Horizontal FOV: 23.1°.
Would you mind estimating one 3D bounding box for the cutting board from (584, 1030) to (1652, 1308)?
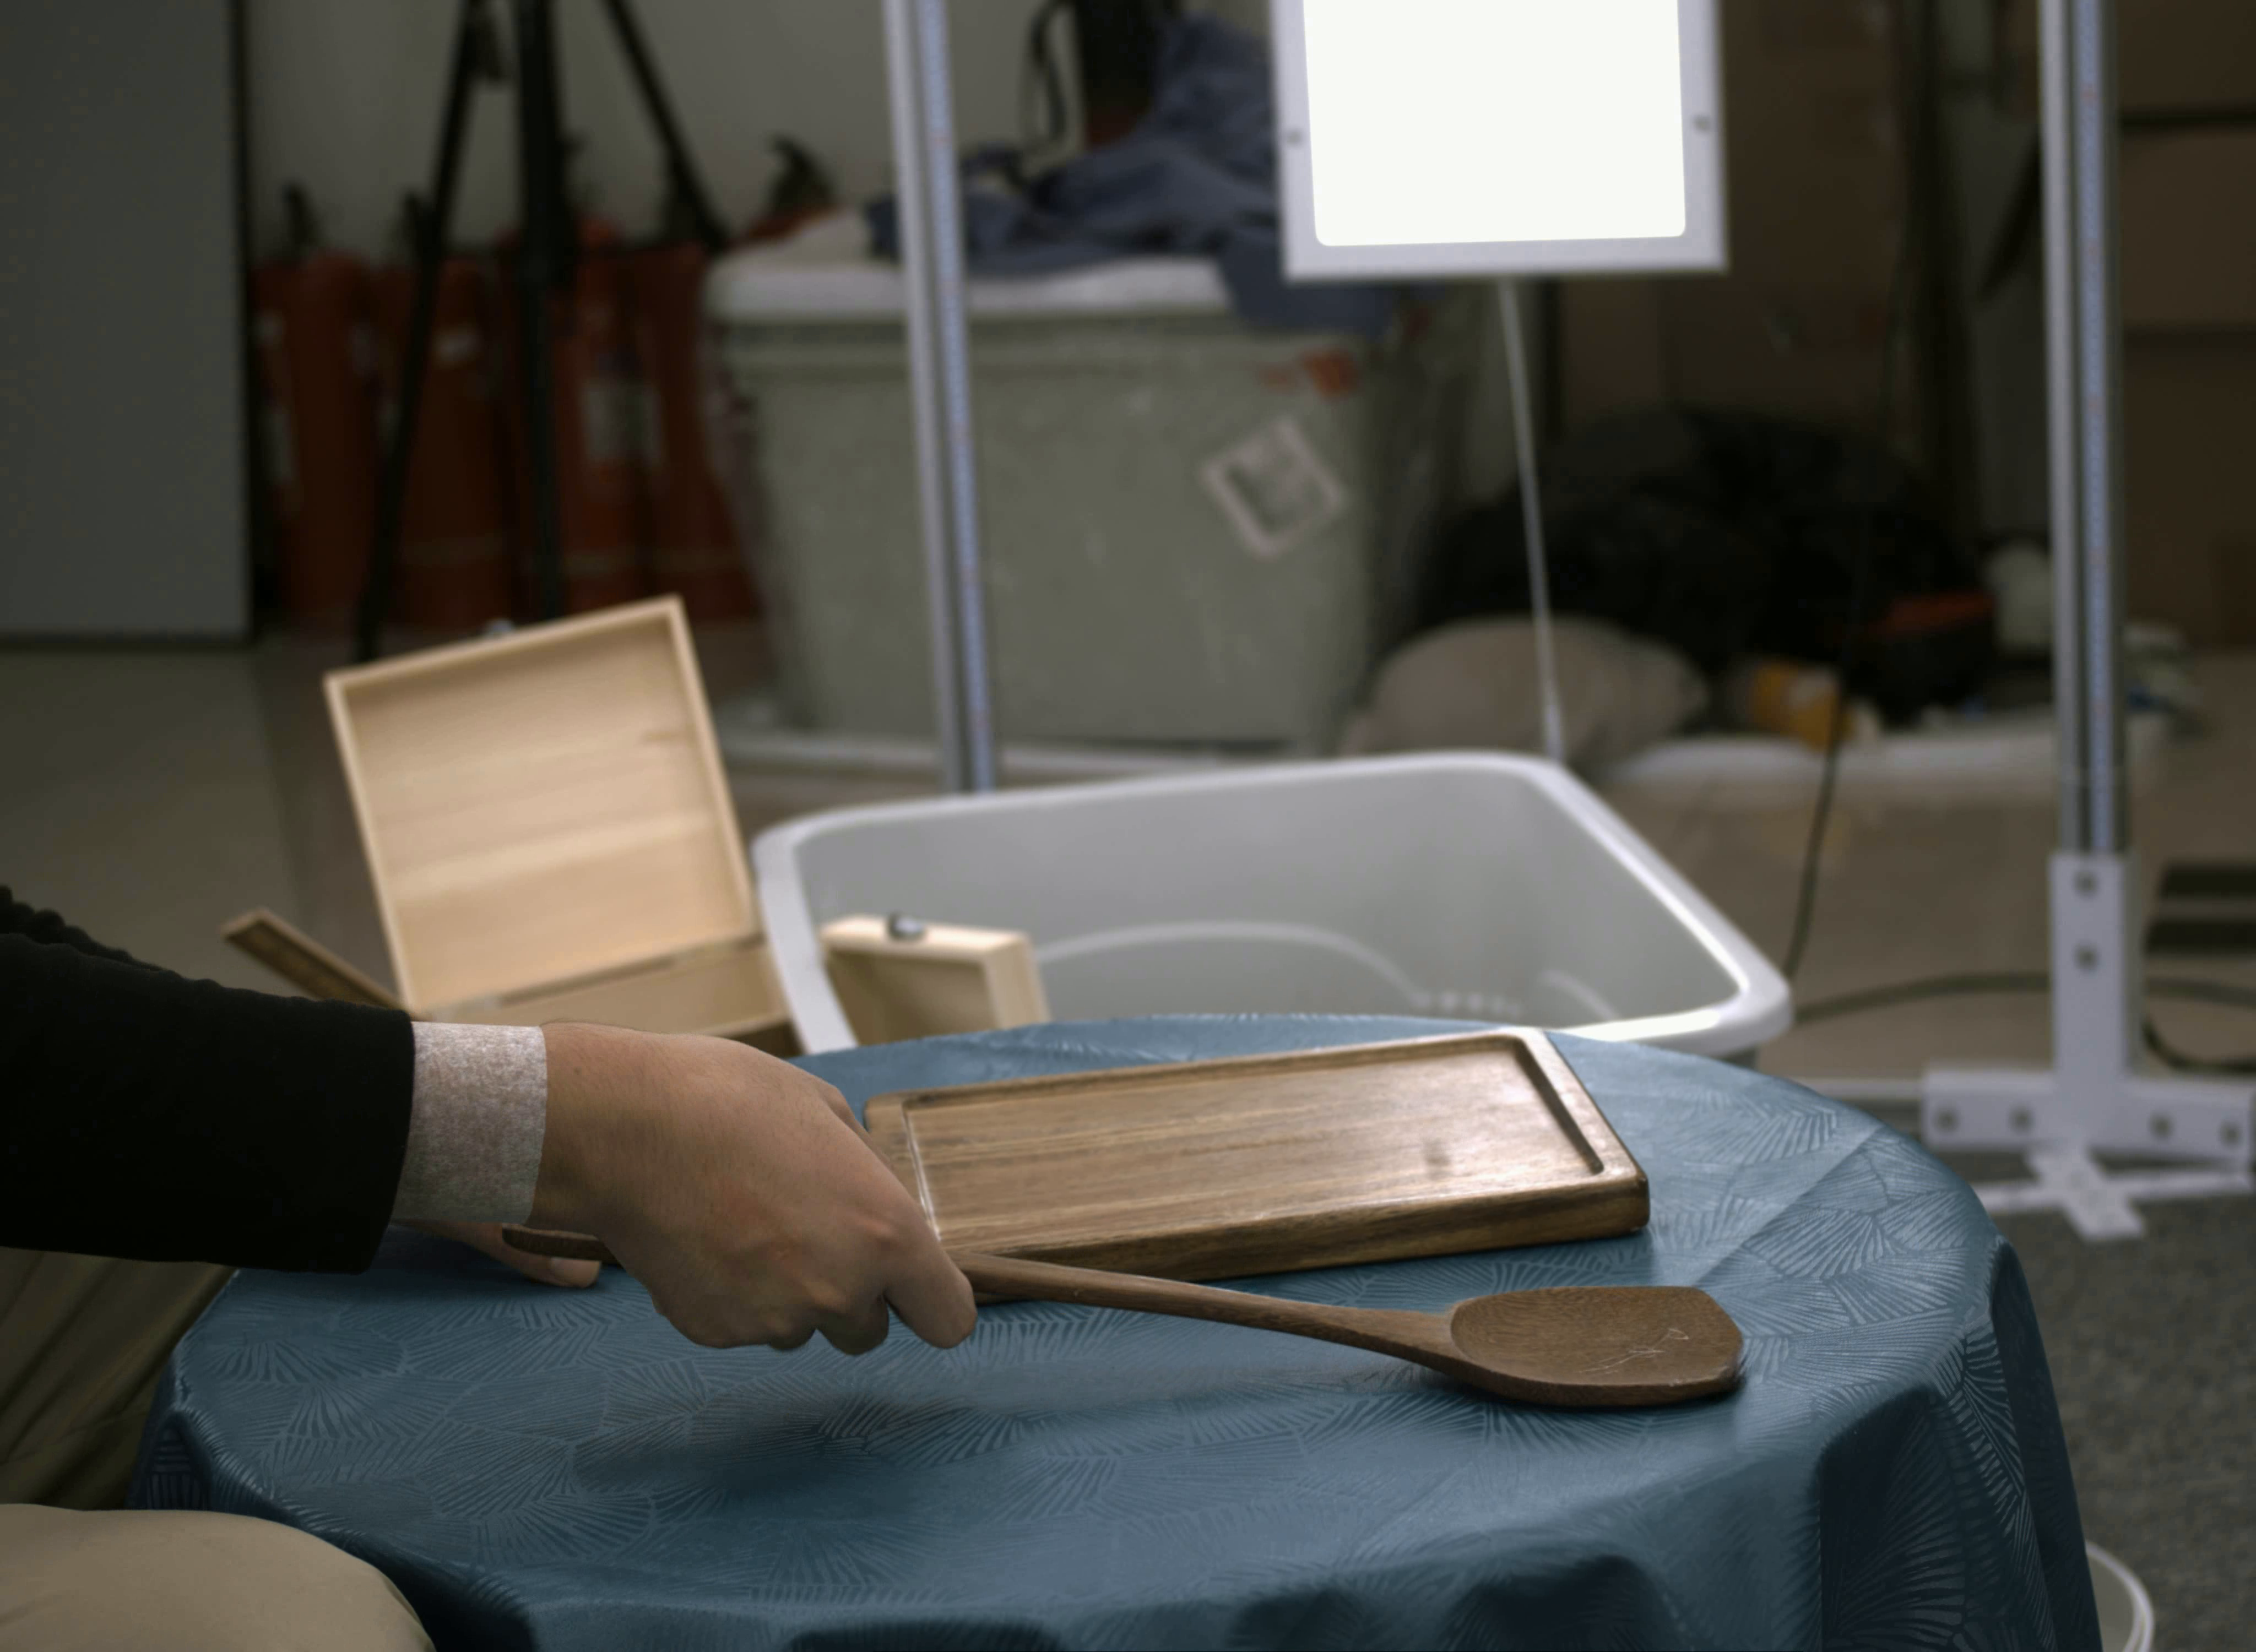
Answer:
[{"bbox_3d":[-0.011,0.120,1.887,0.350,0.023,0.201,-6,13,-4],"label":"cutting board"}]

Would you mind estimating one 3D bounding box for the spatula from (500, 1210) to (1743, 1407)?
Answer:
[{"bbox_3d":[-0.003,0.144,1.696,0.386,0.016,0.095,6,15,4],"label":"spatula"}]
